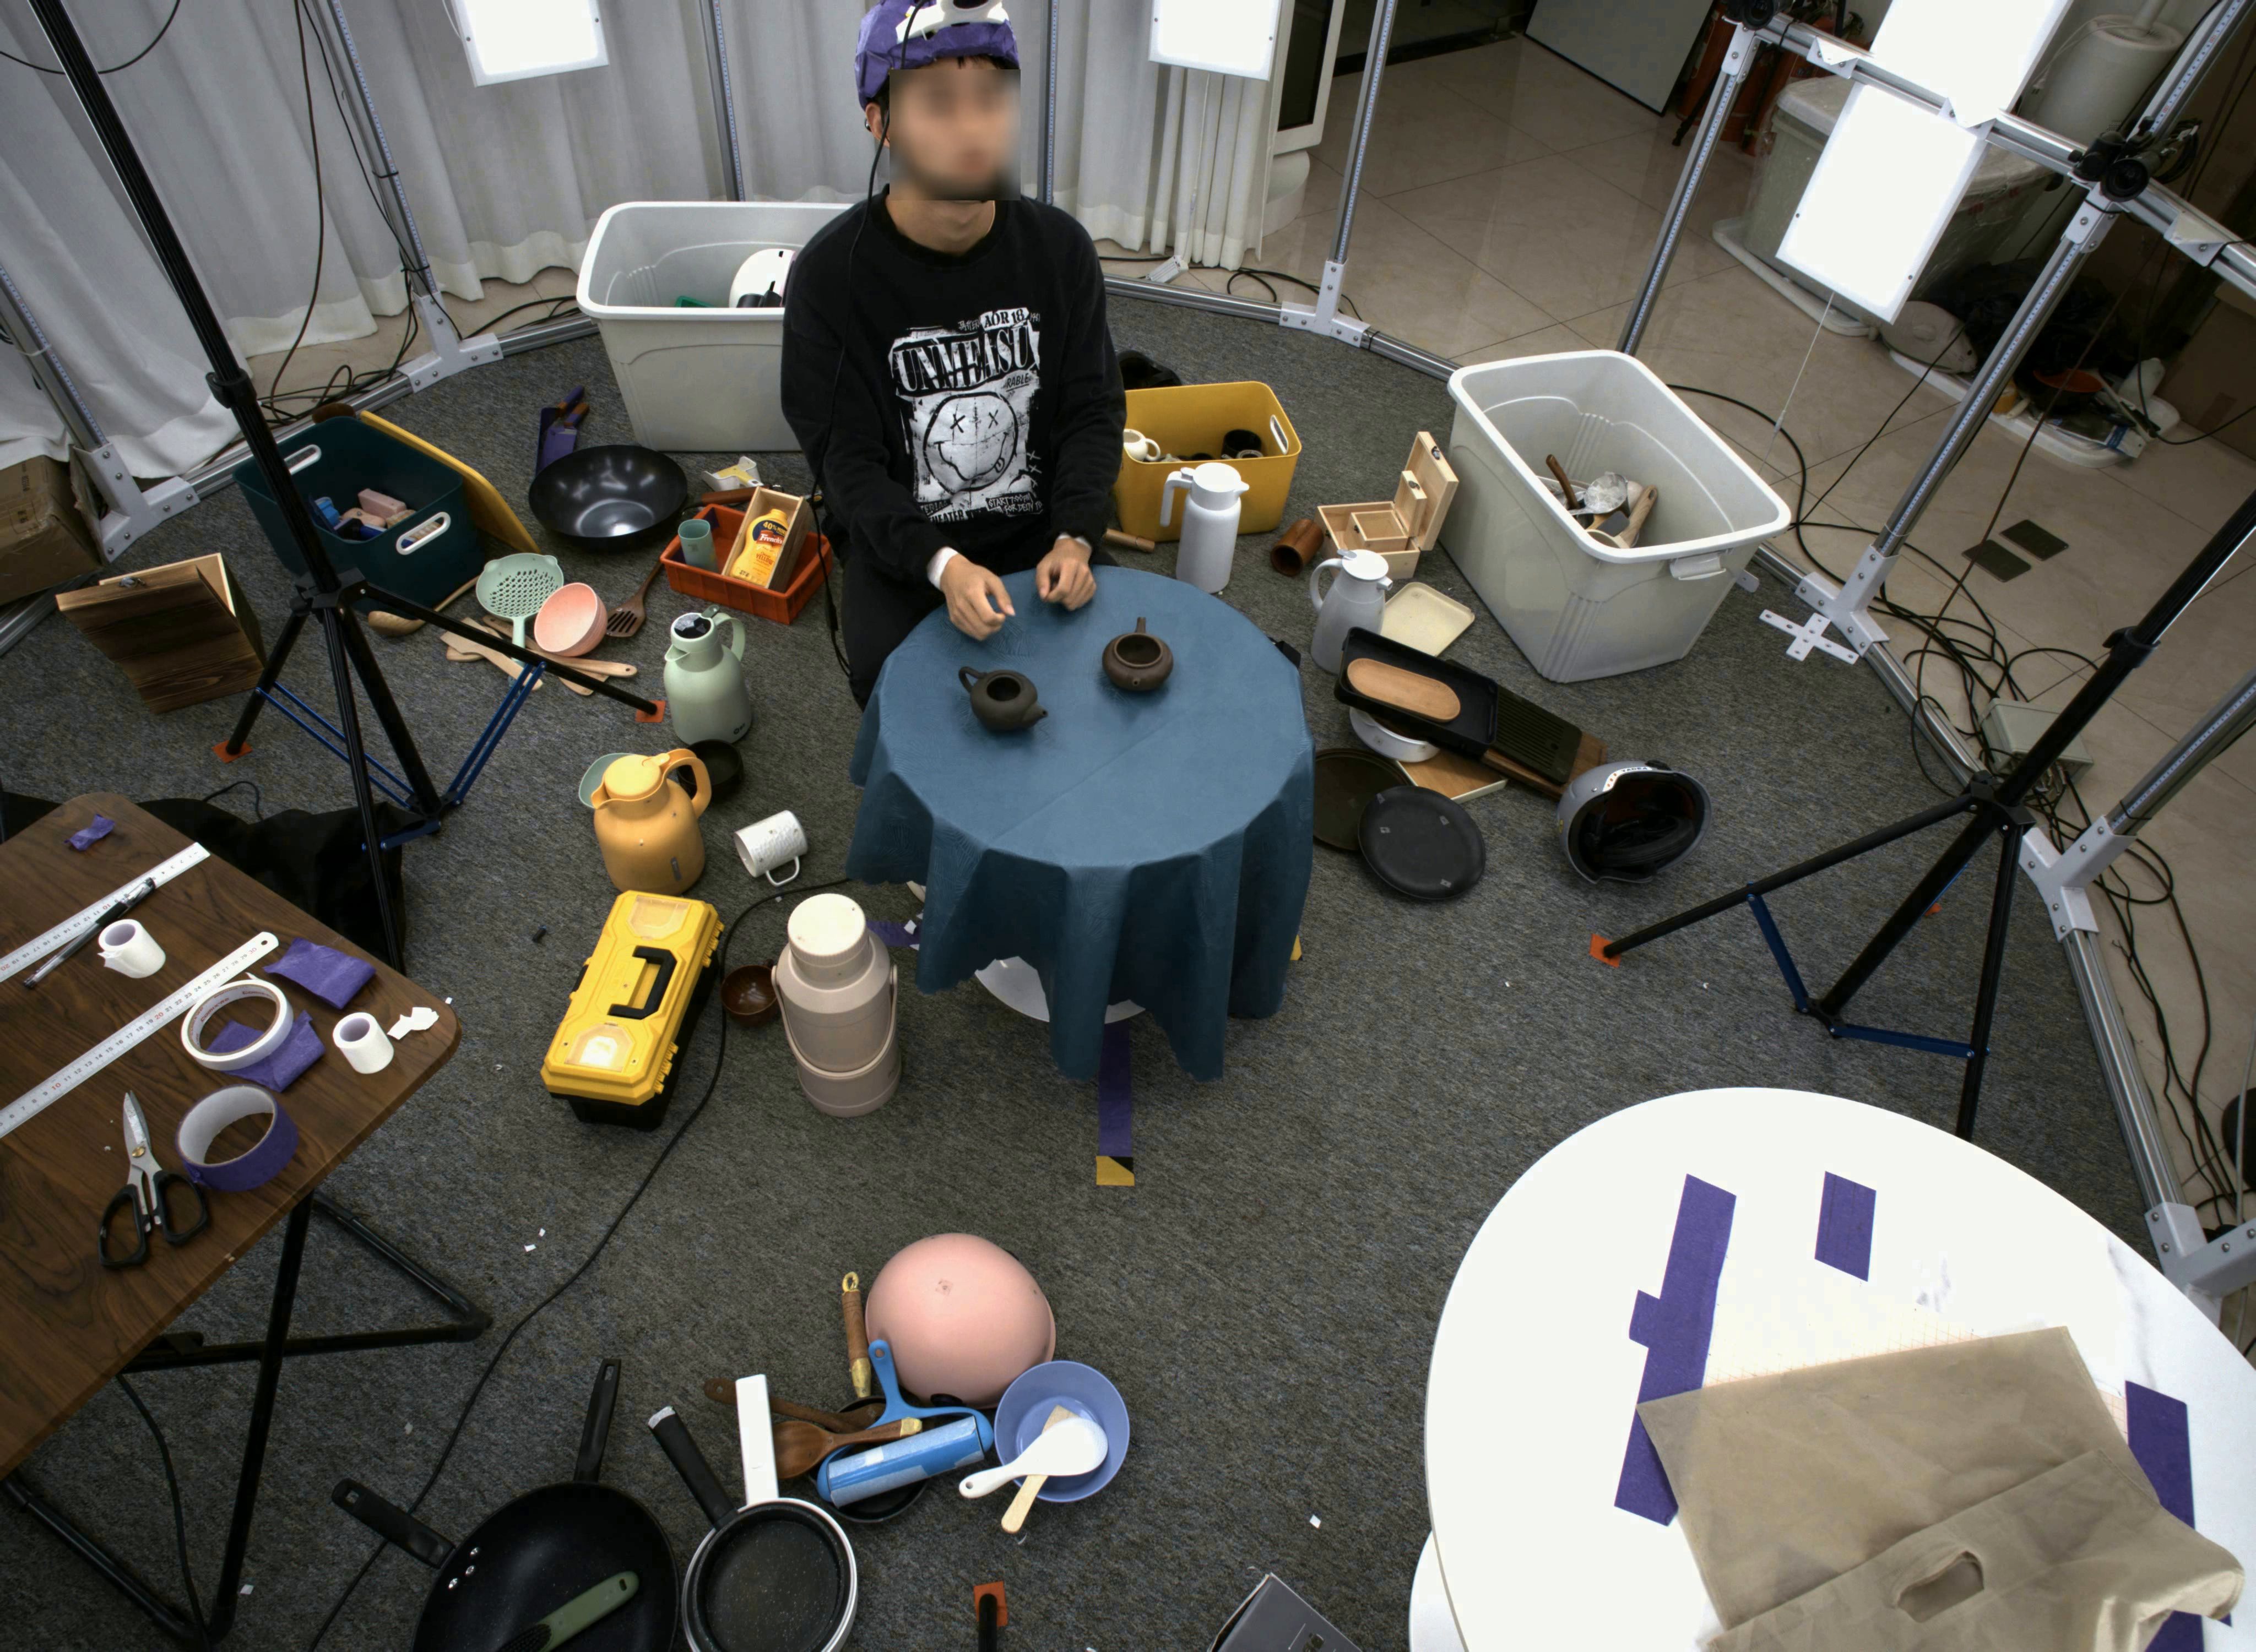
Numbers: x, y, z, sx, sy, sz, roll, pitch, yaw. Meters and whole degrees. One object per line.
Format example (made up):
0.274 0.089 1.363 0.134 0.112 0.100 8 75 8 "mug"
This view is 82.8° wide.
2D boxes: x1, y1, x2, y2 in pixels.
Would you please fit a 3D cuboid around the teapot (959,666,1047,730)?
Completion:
-0.173 -0.174 1.769 0.156 0.063 0.093 32 53 21 "teapot"

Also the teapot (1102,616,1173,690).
0.014 -0.242 1.844 0.102 0.052 0.157 2 50 -5 "teapot"
